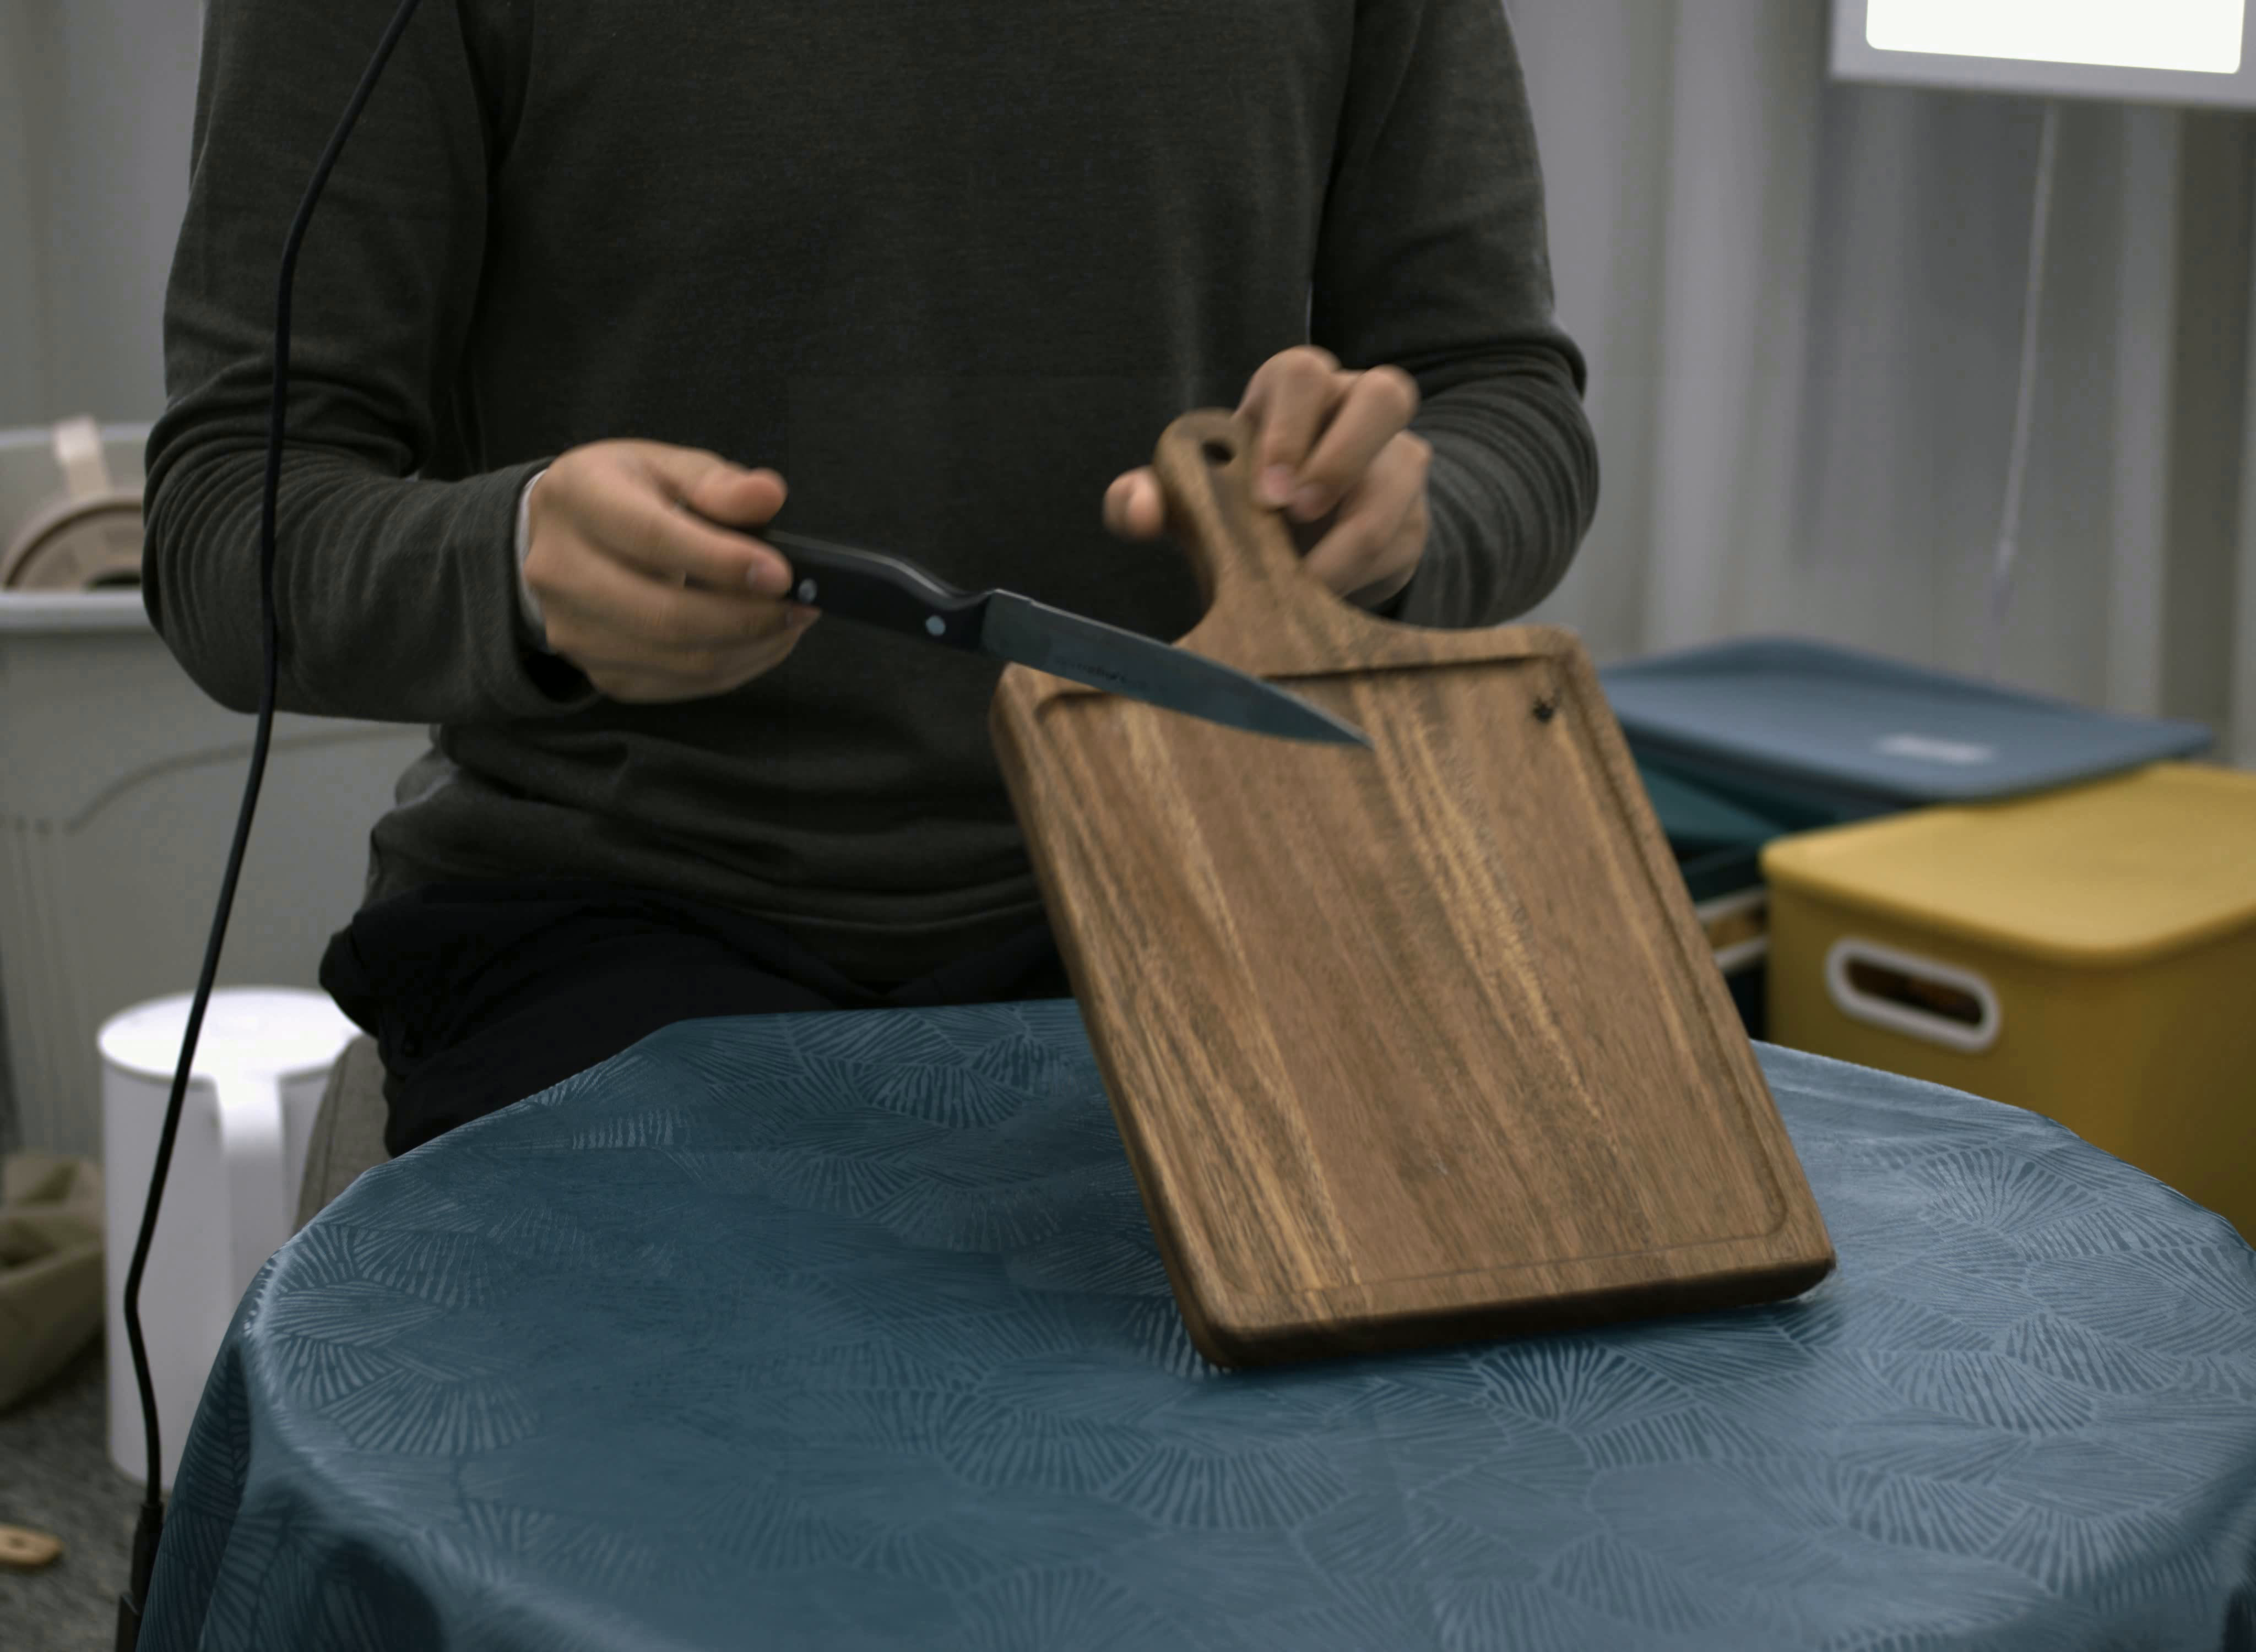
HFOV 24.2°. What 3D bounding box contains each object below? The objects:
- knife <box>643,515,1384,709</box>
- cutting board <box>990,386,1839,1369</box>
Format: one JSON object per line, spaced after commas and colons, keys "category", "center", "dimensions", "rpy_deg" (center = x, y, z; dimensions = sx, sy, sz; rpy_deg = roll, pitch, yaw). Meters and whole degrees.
{"category": "knife", "center": [-0.036, -0.059, 1.558], "dimensions": [0.236, 0.025, 0.016], "rpy_deg": [13, 34, 17]}
{"category": "cutting board", "center": [0.070, 0.002, 1.599], "dimensions": [0.201, 0.023, 0.348], "rpy_deg": [-5, 54, -19]}
